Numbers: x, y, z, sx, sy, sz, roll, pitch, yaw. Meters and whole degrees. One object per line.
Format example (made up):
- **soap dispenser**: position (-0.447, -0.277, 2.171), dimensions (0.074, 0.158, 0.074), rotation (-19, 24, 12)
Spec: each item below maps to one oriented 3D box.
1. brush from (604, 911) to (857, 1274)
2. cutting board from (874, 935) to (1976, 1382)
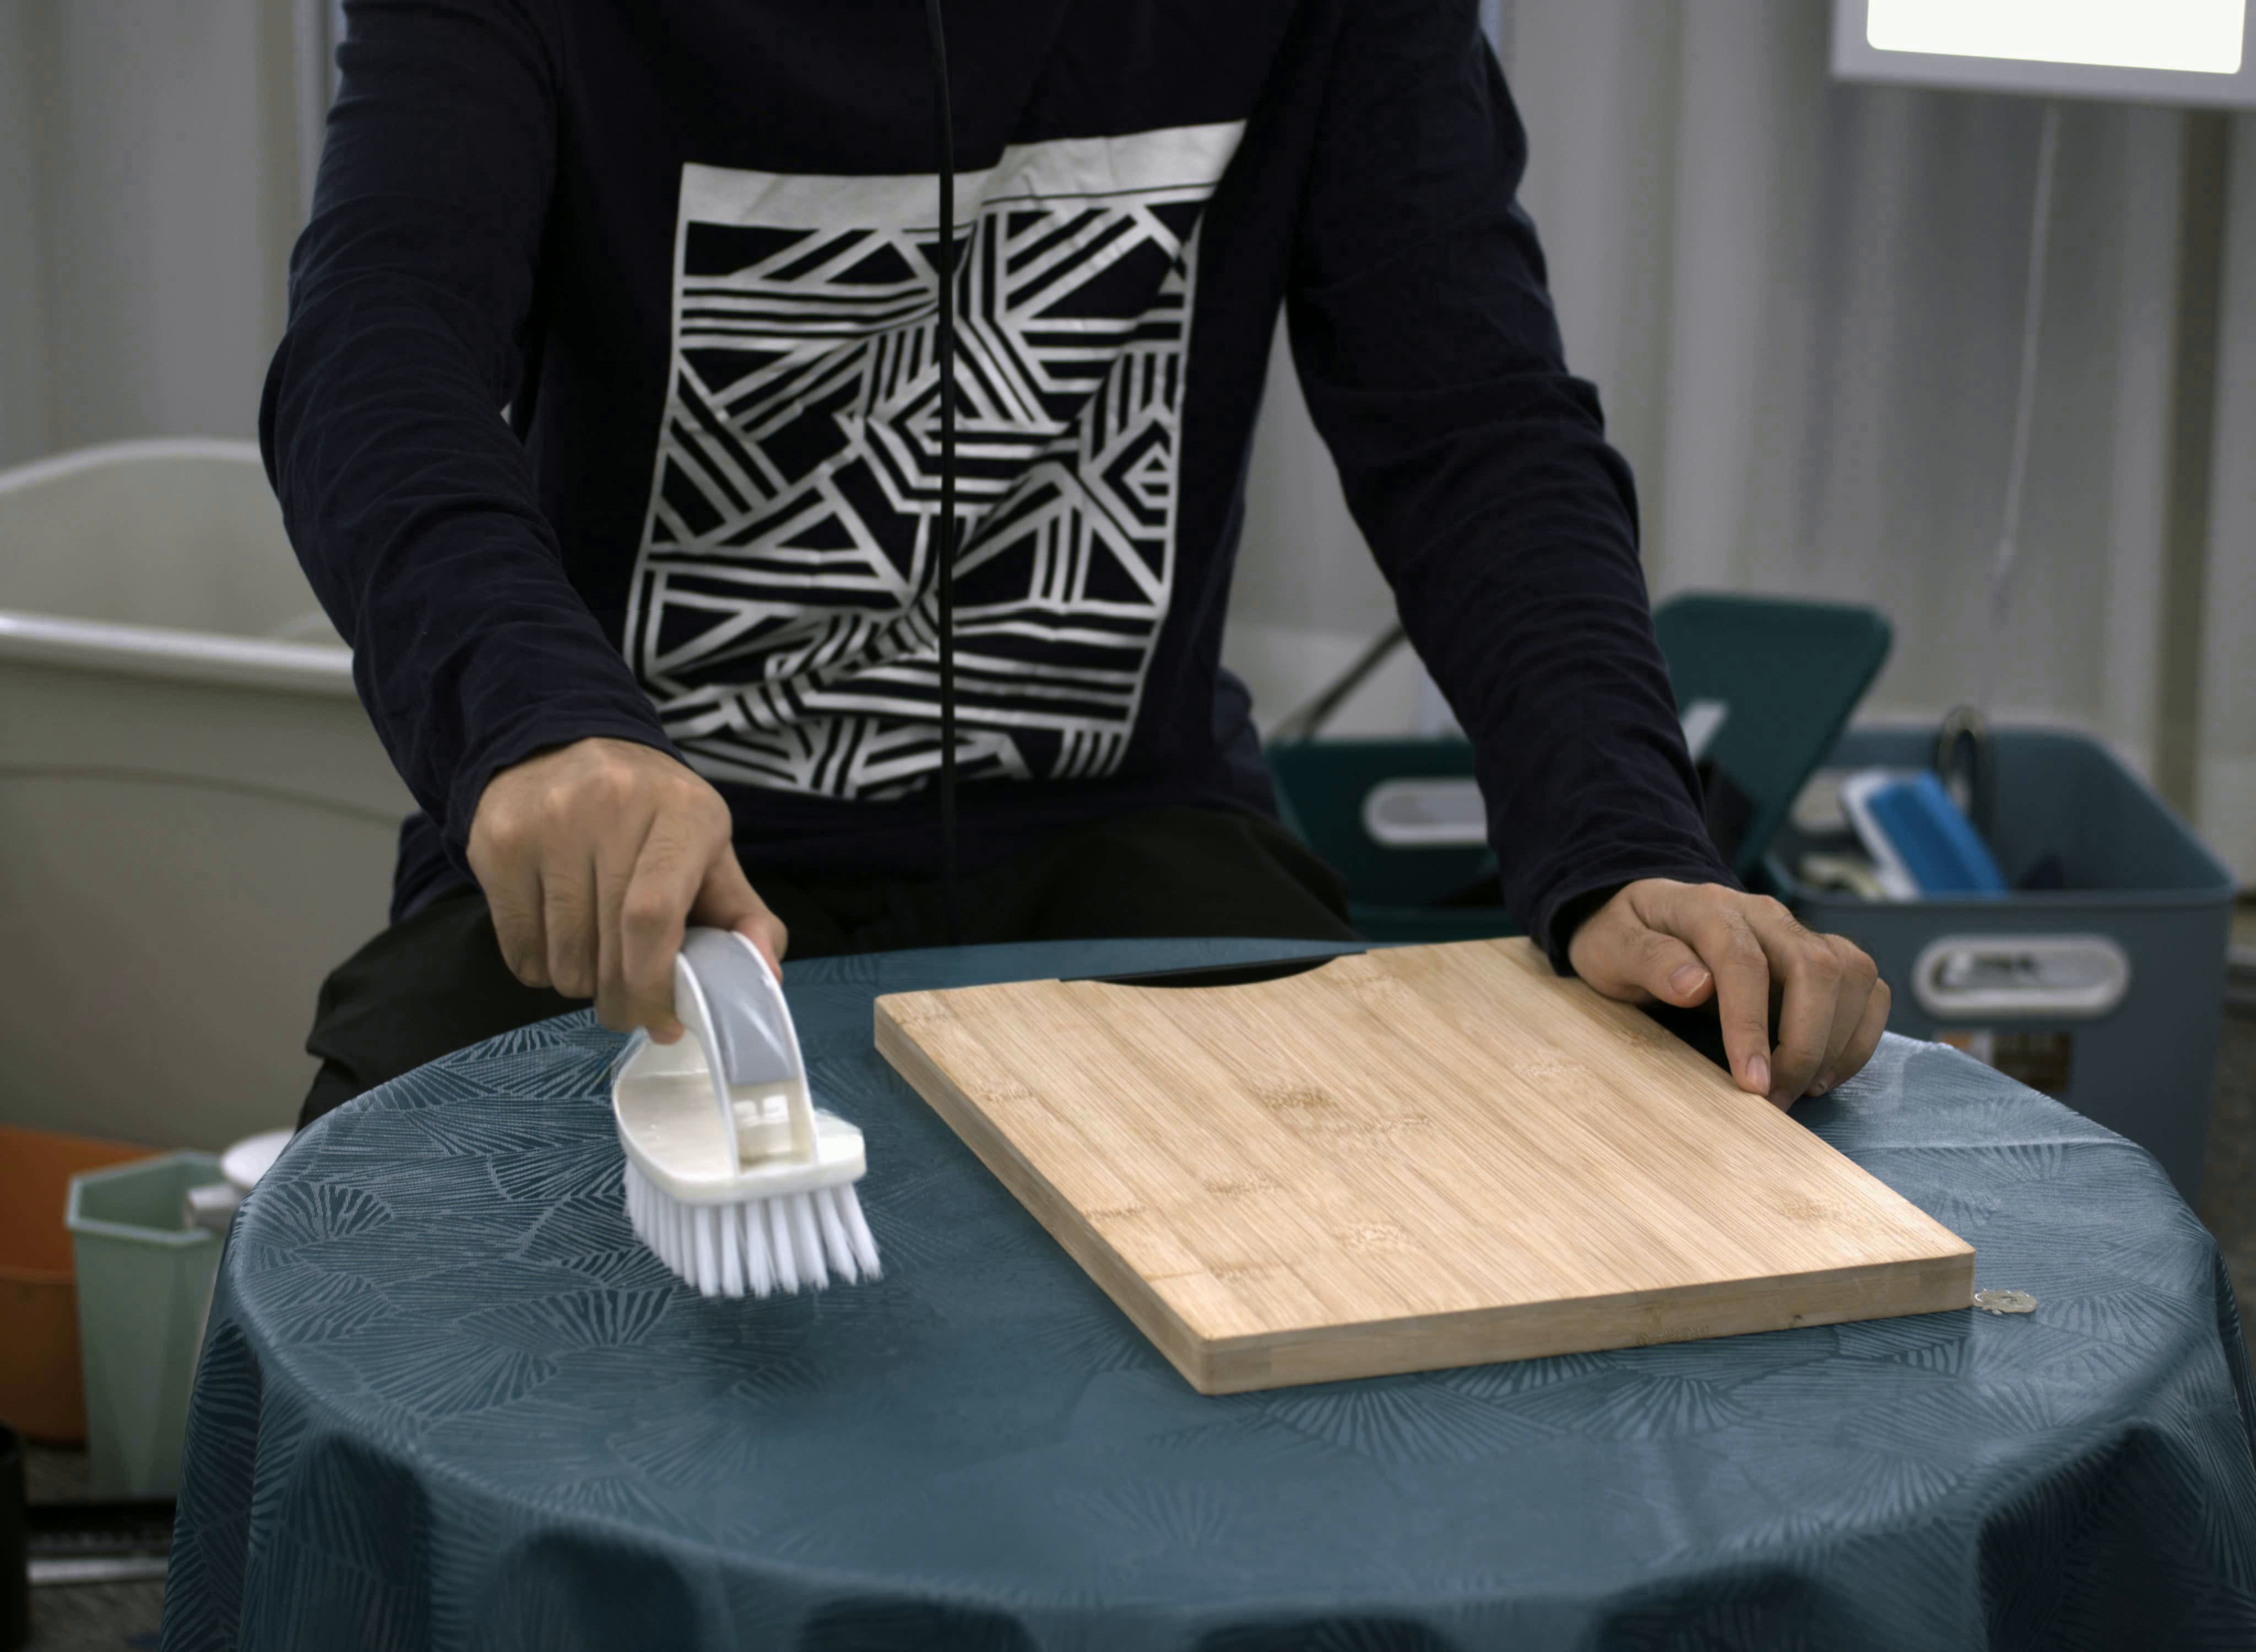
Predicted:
- **brush**: position (-0.123, 0.069, 1.514), dimensions (0.061, 0.095, 0.174), rotation (-8, 11, -15)
- **cutting board**: position (0.080, 0.098, 1.652), dimensions (0.251, 0.024, 0.345), rotation (-4, 16, -19)
